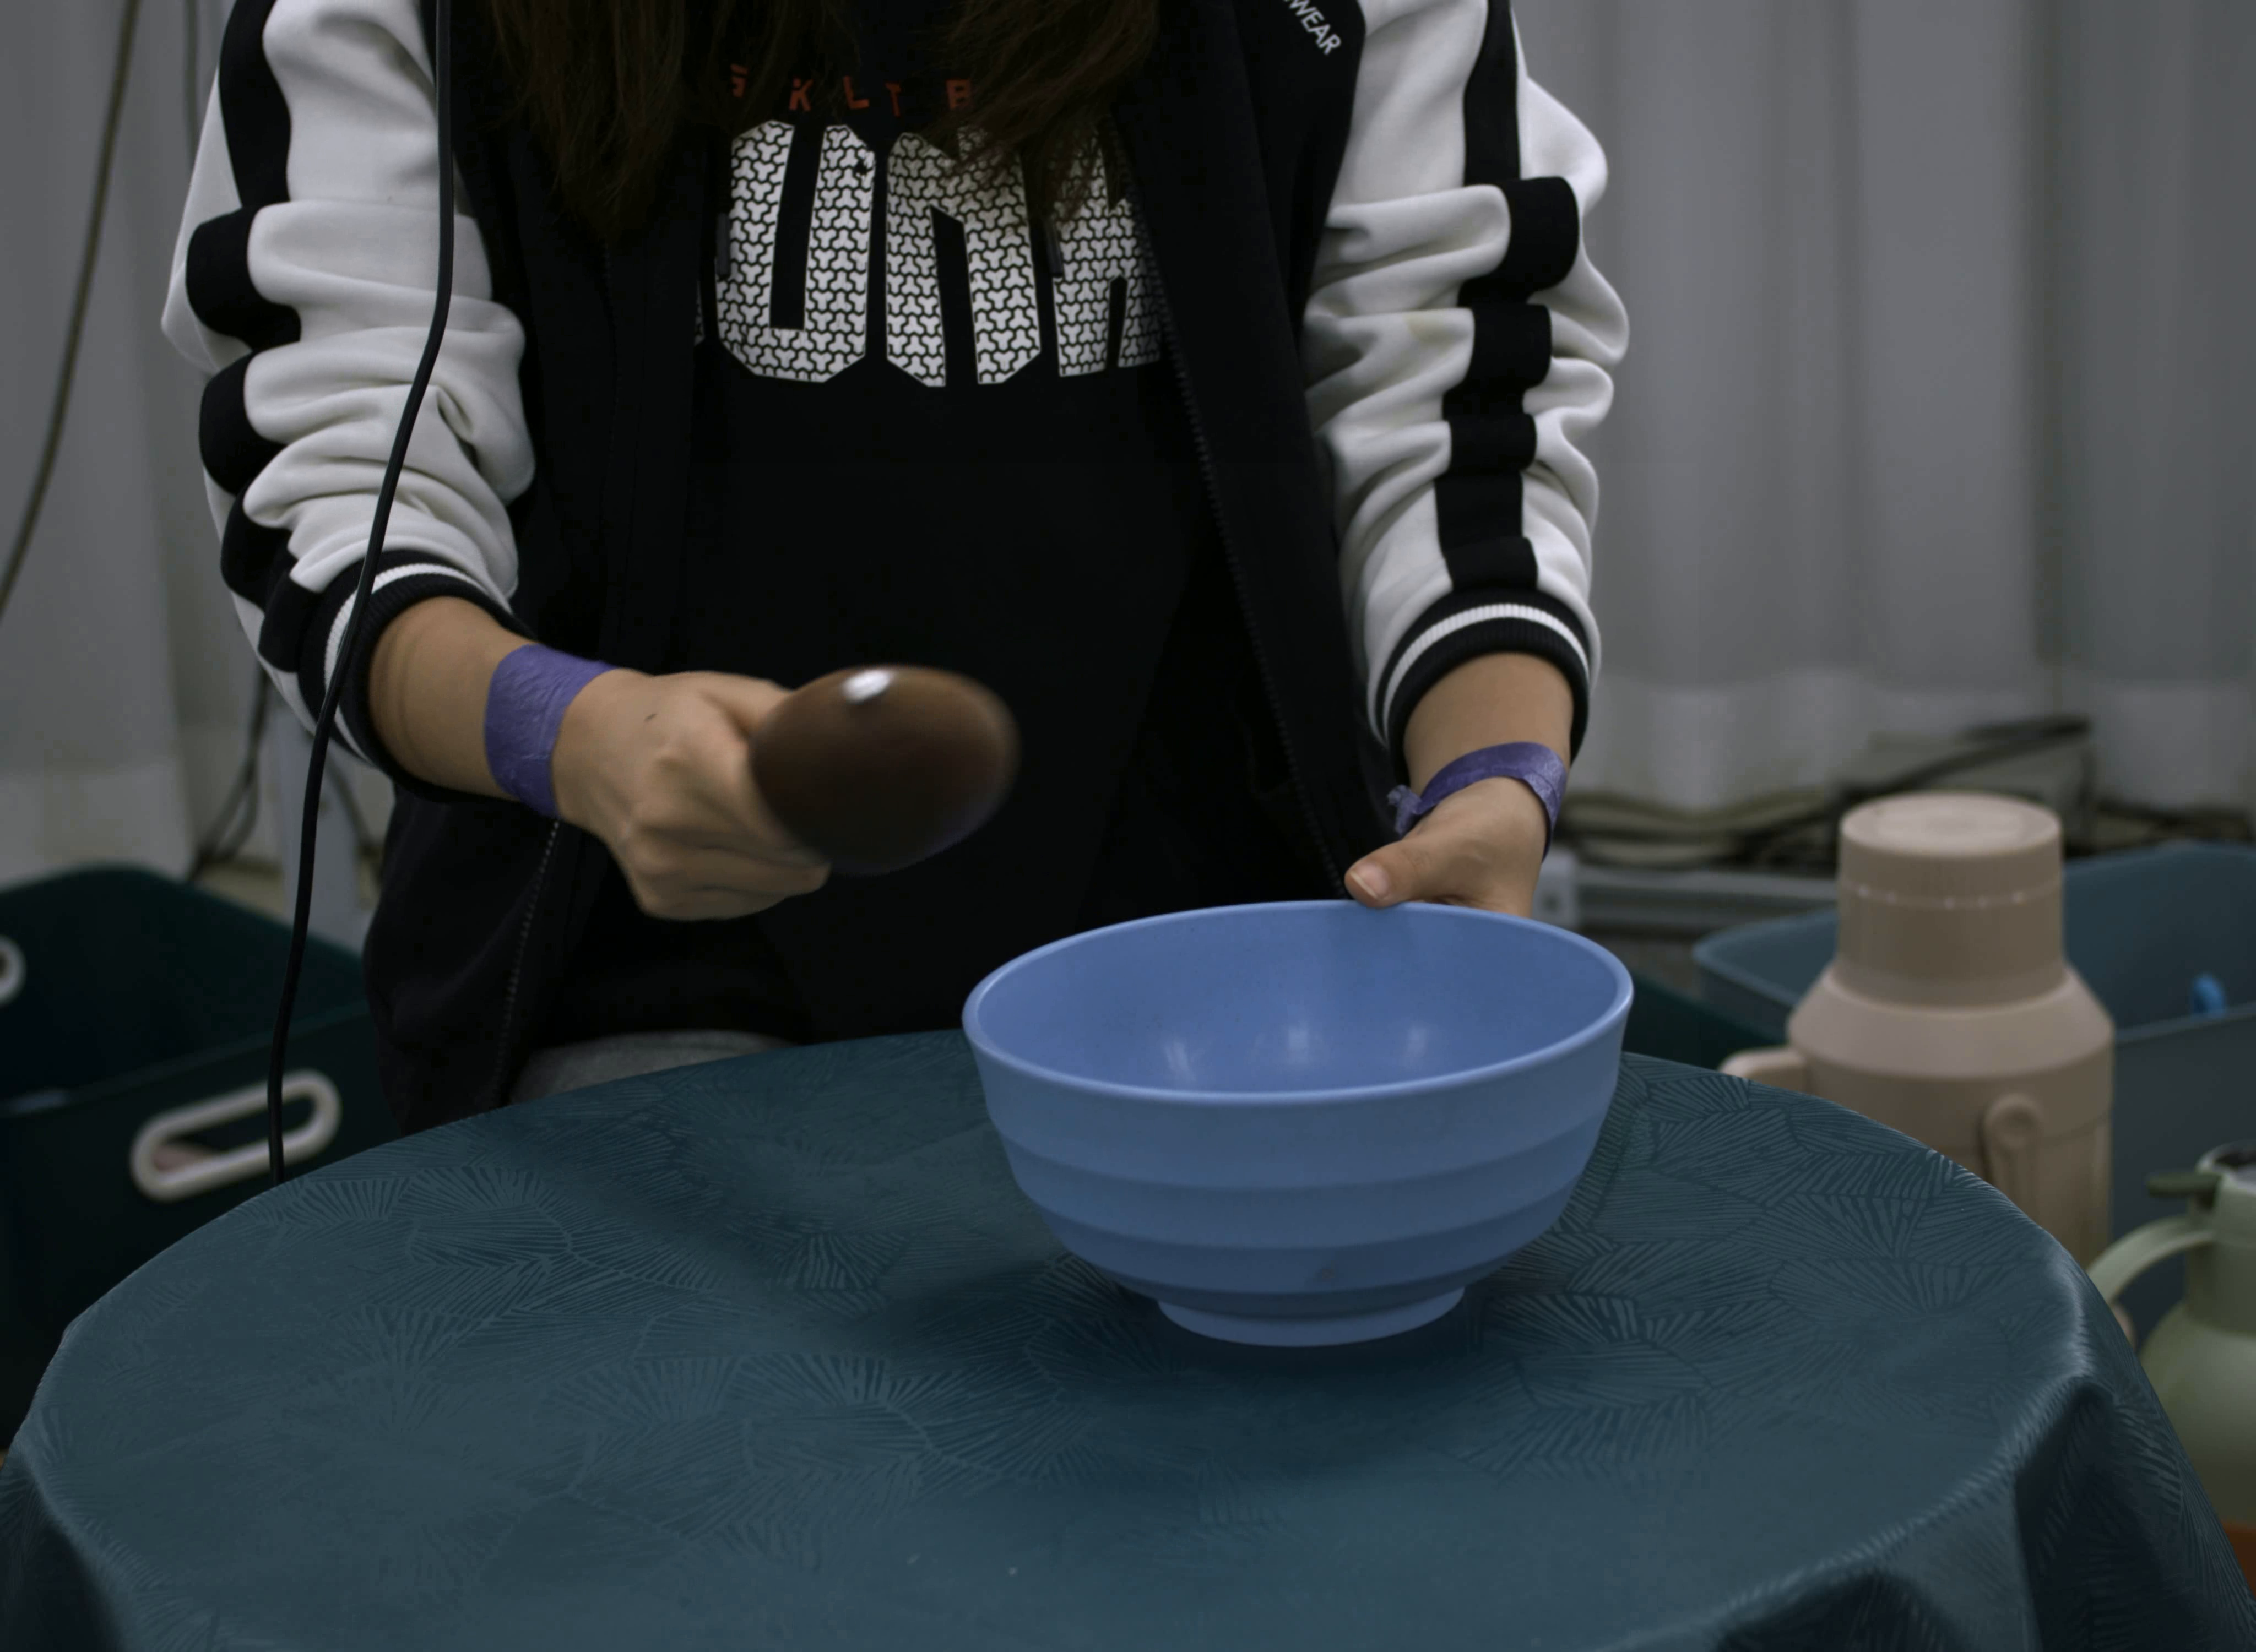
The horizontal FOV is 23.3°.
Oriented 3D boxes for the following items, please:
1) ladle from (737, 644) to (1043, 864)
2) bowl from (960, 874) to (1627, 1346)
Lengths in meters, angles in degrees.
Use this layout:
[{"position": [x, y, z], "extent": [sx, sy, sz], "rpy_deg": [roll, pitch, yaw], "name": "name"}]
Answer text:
[{"position": [-0.082, -0.027, 1.621], "extent": [0.076, 0.065, 0.261], "rpy_deg": [9, 3, -13], "name": "ladle"}, {"position": [0.054, 0.091, 1.611], "extent": [0.196, 0.095, 0.198], "rpy_deg": [-7, 18, 2], "name": "bowl"}]
